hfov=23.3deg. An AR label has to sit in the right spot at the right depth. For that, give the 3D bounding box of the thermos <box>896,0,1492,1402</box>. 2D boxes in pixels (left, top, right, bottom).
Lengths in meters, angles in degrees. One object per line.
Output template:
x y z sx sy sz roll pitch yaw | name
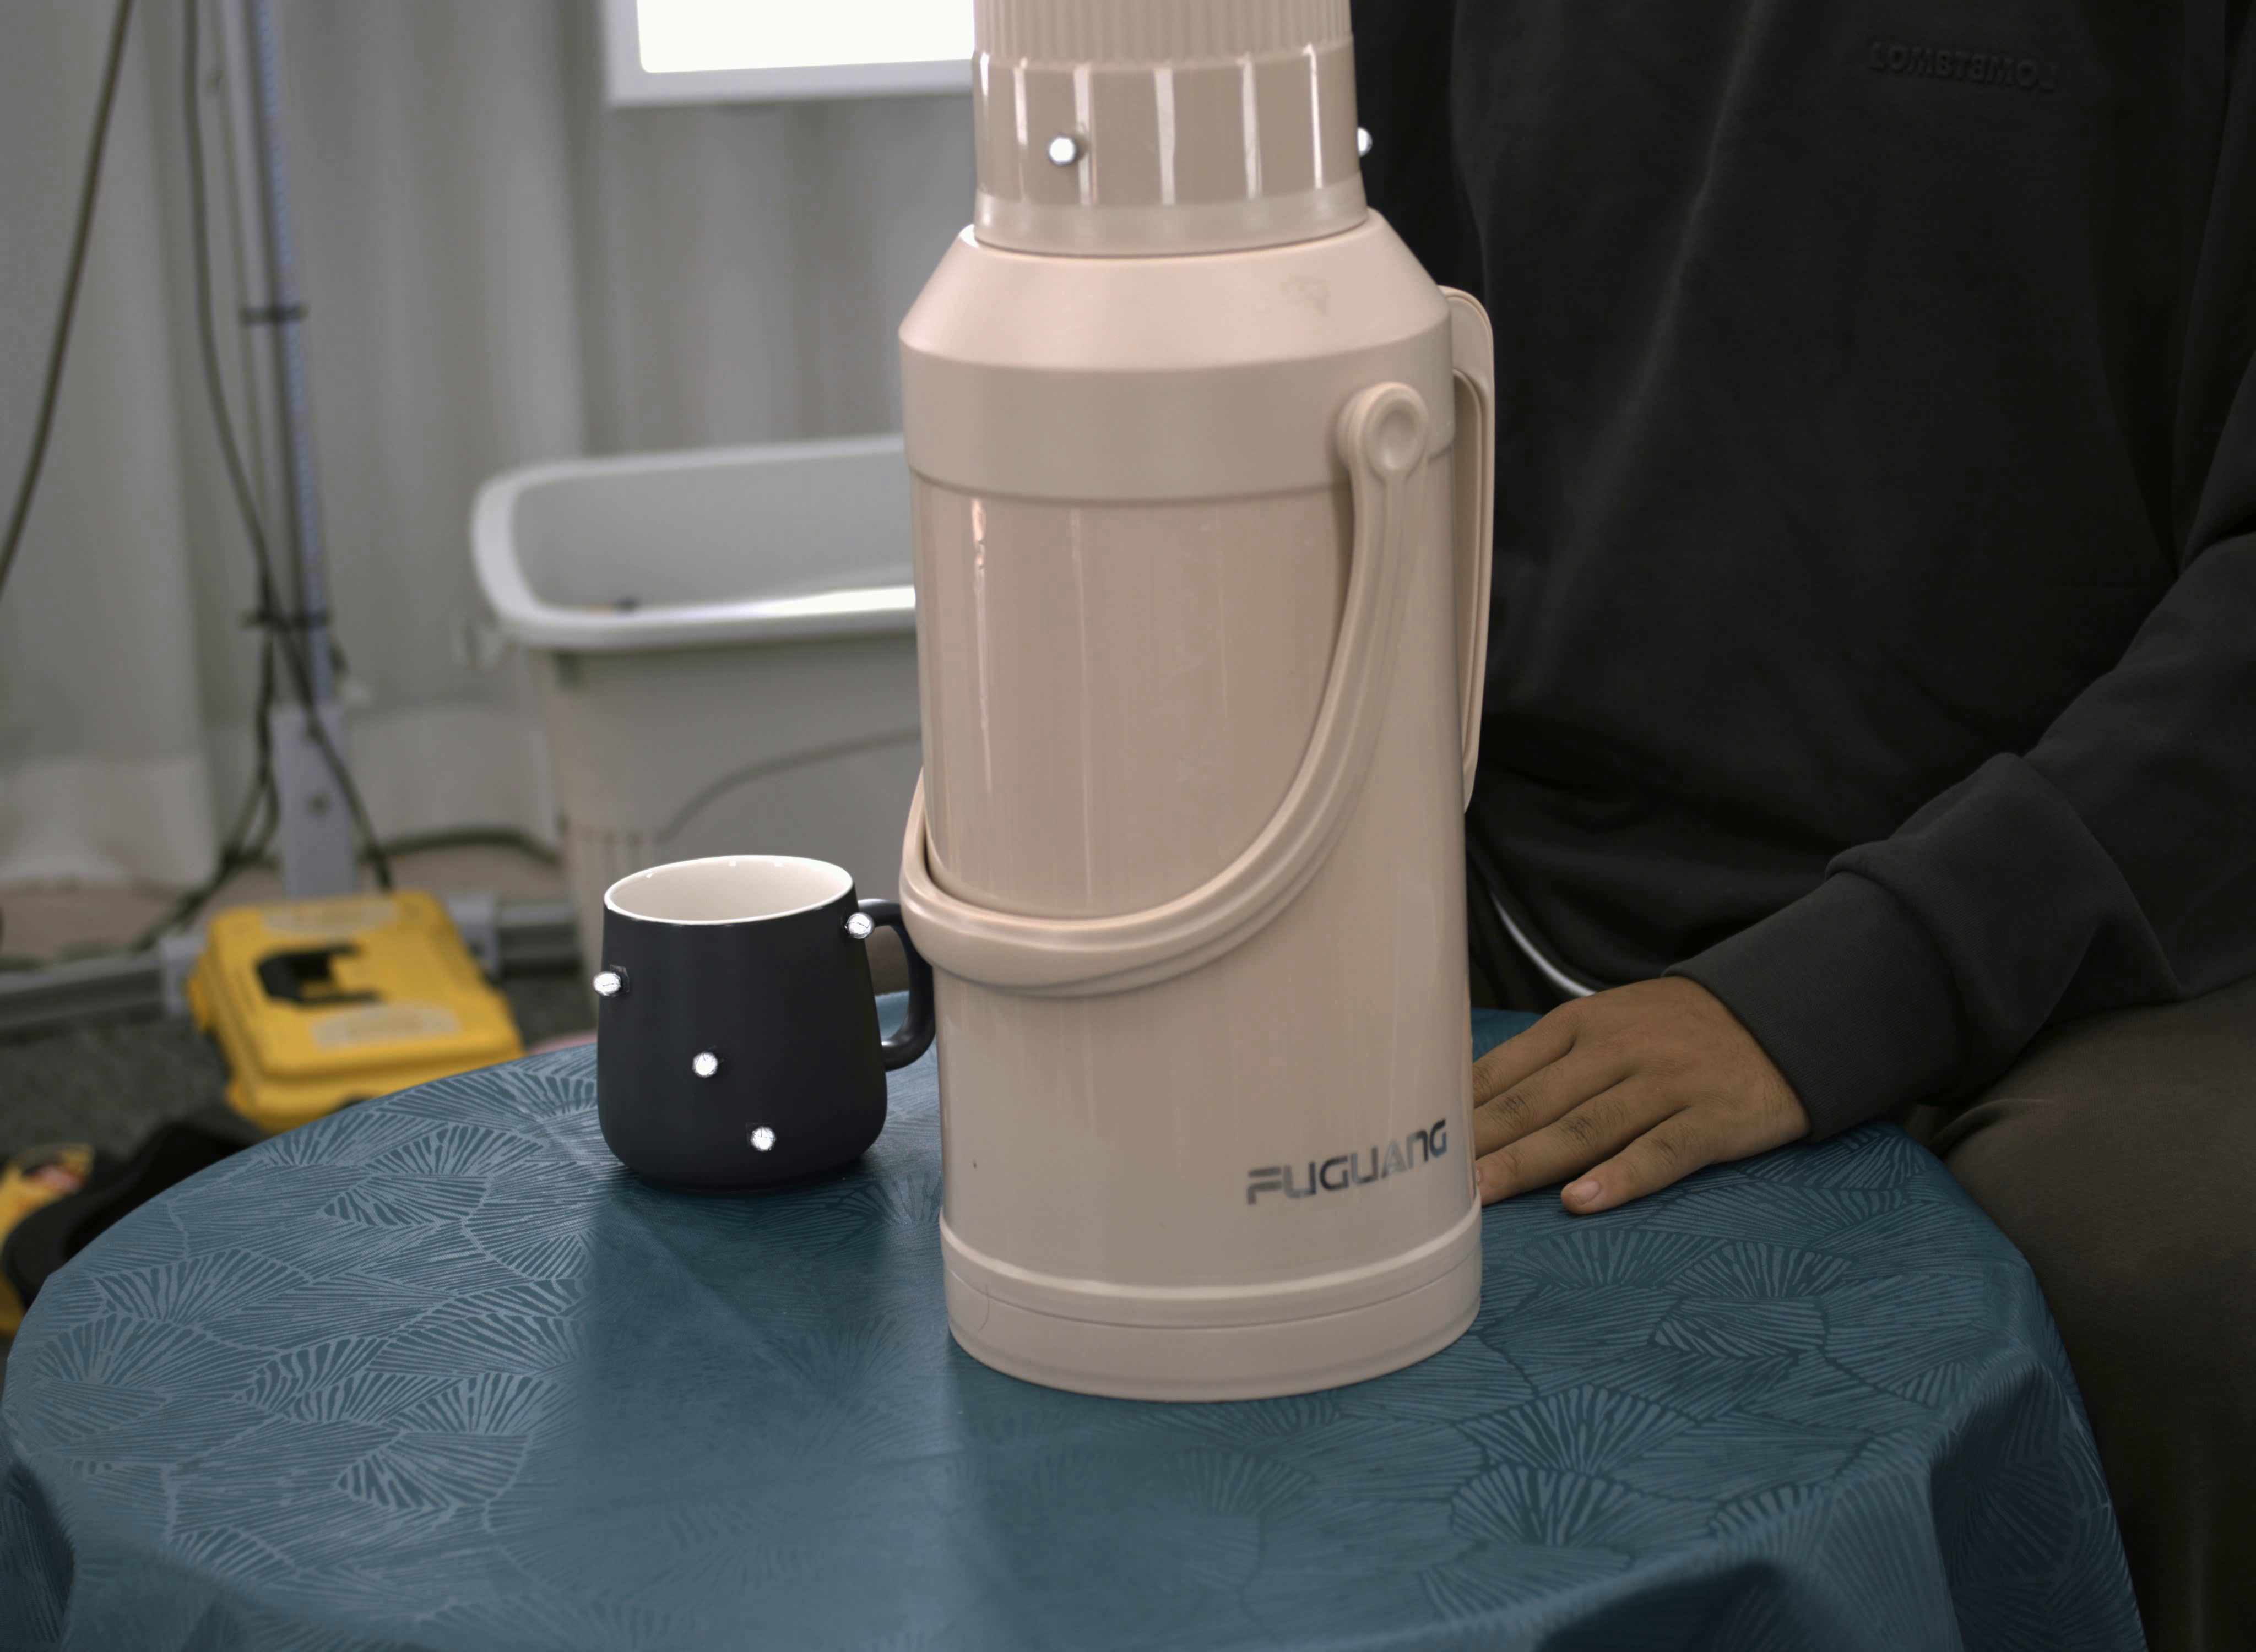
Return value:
0.028 -0.053 1.575 0.206 0.405 0.176 -15 18 -41 | thermos

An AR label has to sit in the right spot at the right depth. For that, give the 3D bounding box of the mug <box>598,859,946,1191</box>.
-0.112 0.061 1.764 0.123 0.089 0.094 -12 17 -32 | mug
